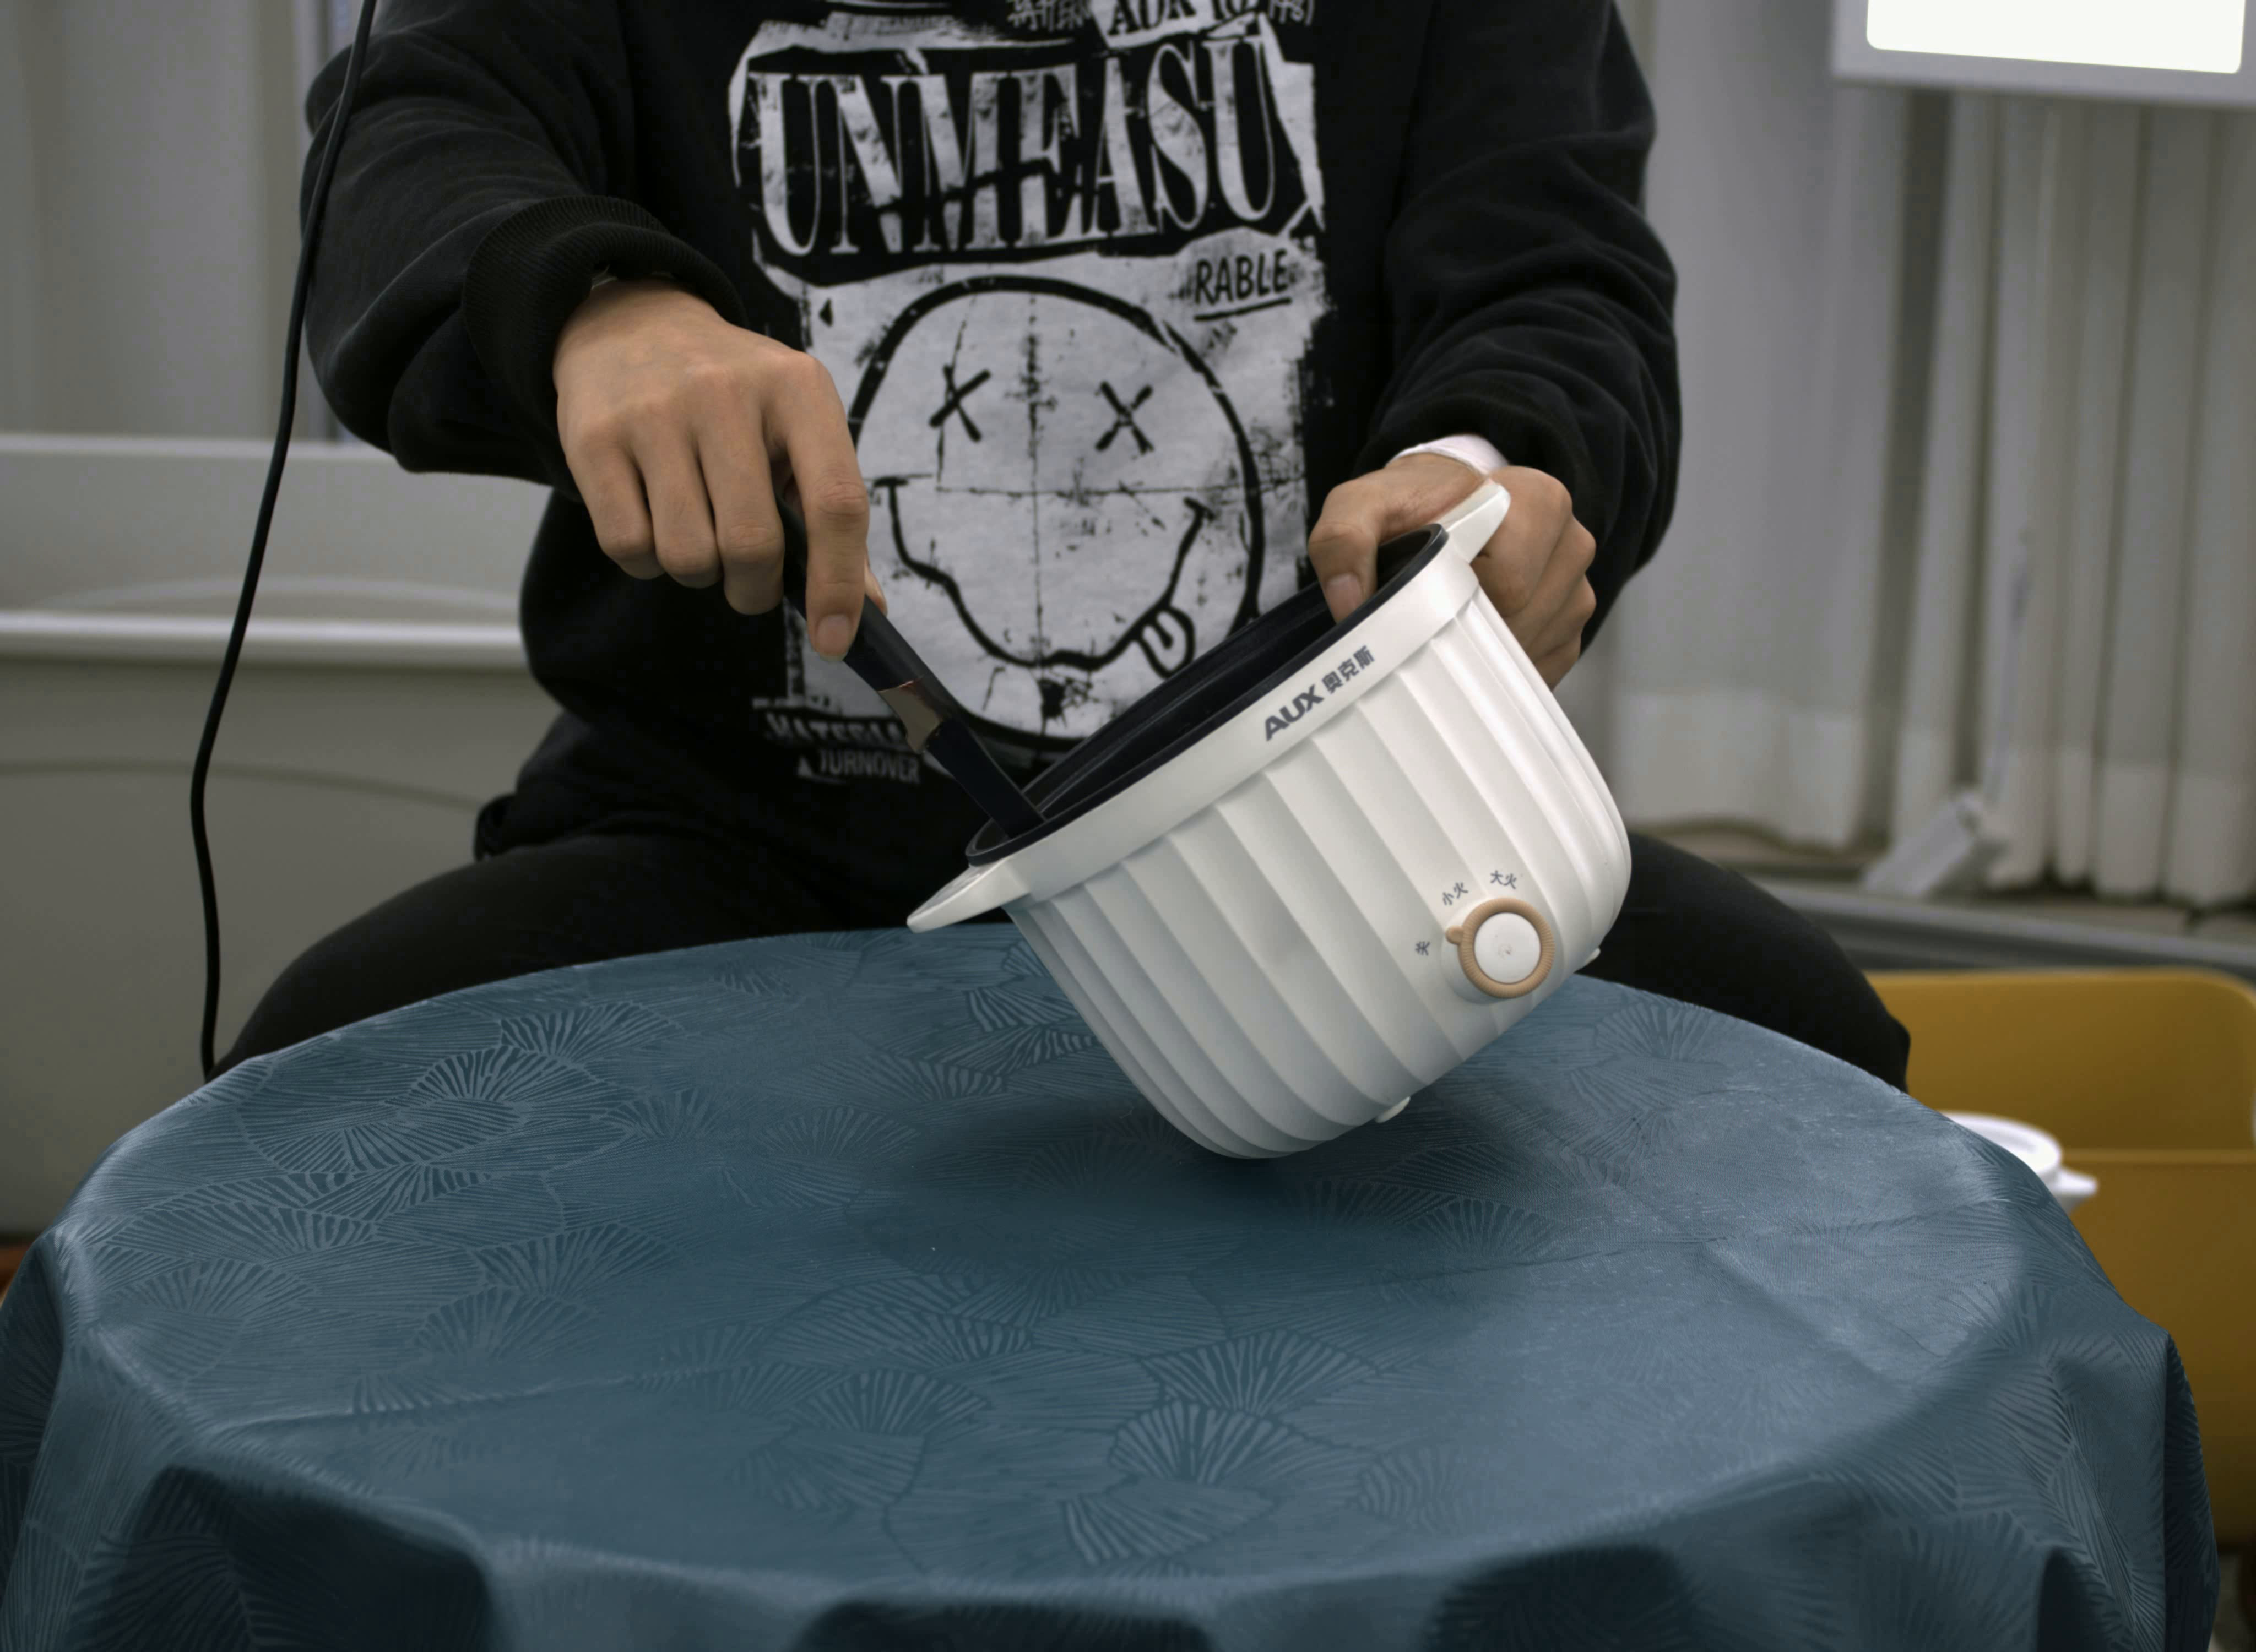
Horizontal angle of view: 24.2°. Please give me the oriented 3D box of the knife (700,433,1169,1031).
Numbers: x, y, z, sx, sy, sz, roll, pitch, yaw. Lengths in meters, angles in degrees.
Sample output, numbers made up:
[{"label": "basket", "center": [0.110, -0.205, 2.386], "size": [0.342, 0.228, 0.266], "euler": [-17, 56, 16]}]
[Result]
[{"label": "knife", "center": [-0.056, -0.029, 1.596], "size": [0.026, 0.225, 0.017], "euler": [-41, -3, 24]}]

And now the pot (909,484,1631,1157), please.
[{"label": "pot", "center": [0.063, 0.009, 1.639], "size": [0.240, 0.143, 0.190], "euler": [-38, 4, -17]}]
